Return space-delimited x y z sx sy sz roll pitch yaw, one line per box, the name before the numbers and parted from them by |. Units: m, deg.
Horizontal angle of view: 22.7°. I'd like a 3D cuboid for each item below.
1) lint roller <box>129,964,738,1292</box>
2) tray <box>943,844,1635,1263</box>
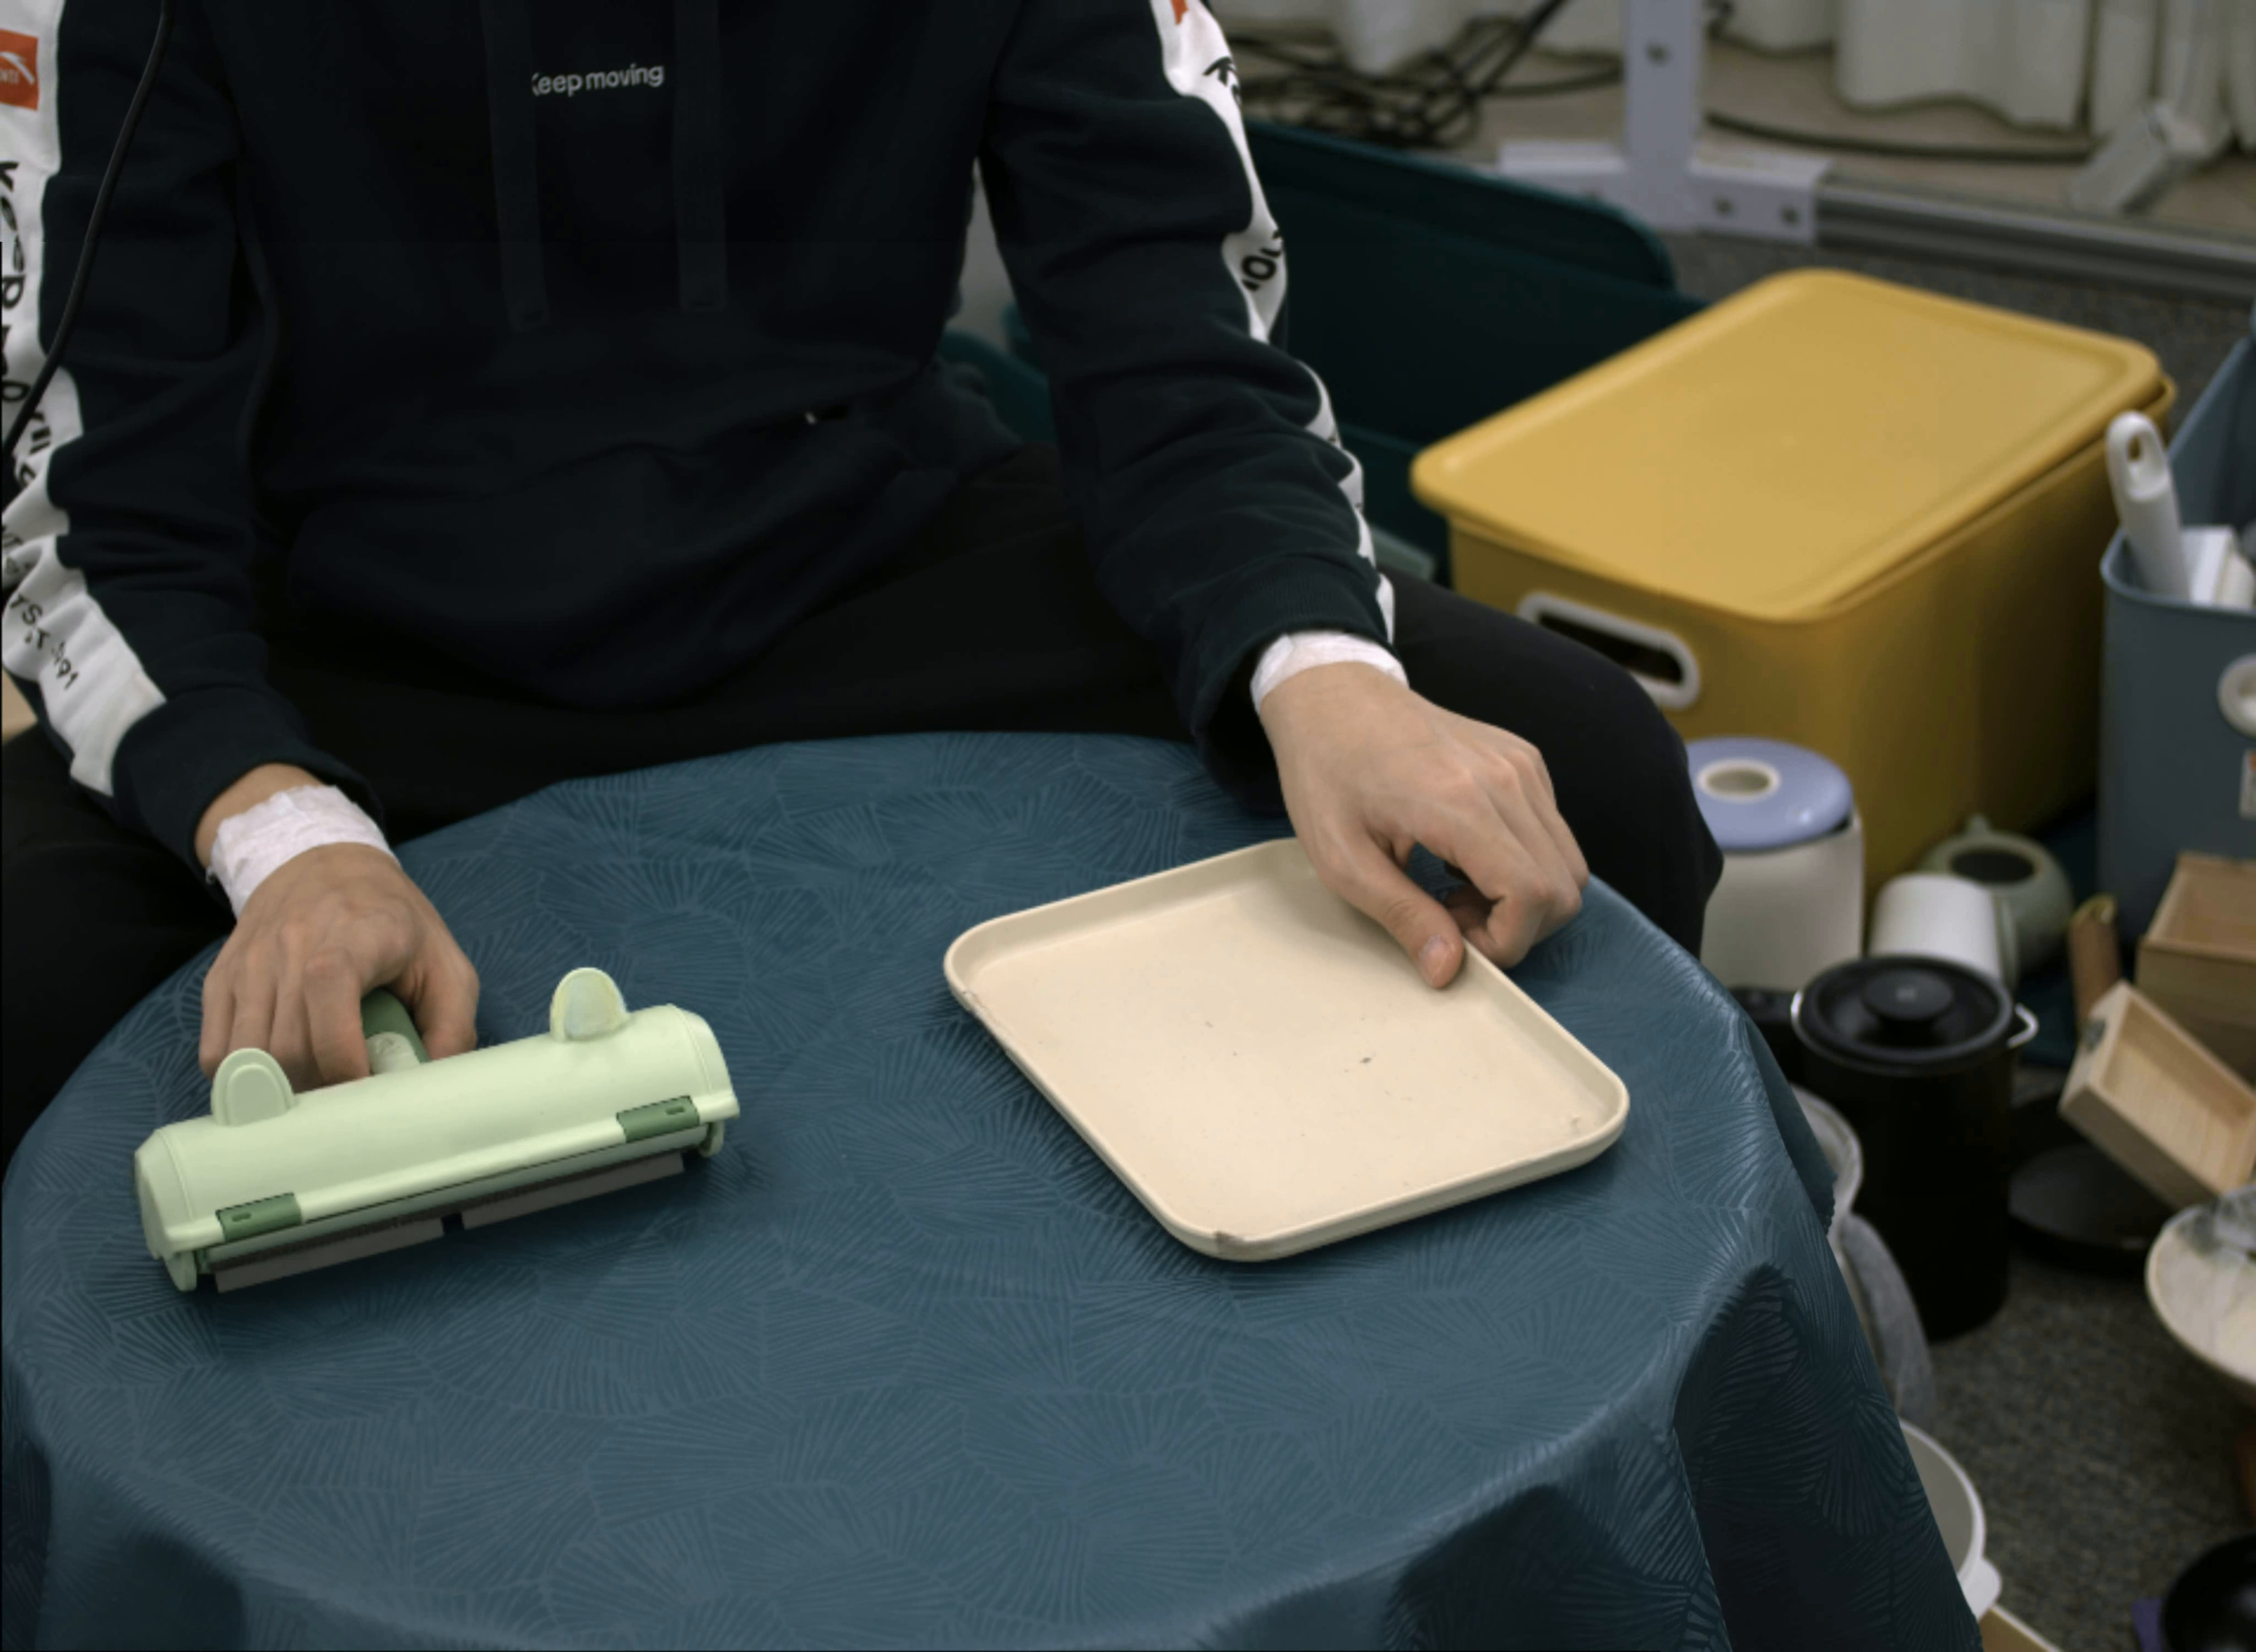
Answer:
lint roller | -0.250 0.074 1.893 0.199 0.081 0.185 -13 33 -19
tray | 0.052 0.076 1.923 0.172 0.017 0.241 -14 30 -21
